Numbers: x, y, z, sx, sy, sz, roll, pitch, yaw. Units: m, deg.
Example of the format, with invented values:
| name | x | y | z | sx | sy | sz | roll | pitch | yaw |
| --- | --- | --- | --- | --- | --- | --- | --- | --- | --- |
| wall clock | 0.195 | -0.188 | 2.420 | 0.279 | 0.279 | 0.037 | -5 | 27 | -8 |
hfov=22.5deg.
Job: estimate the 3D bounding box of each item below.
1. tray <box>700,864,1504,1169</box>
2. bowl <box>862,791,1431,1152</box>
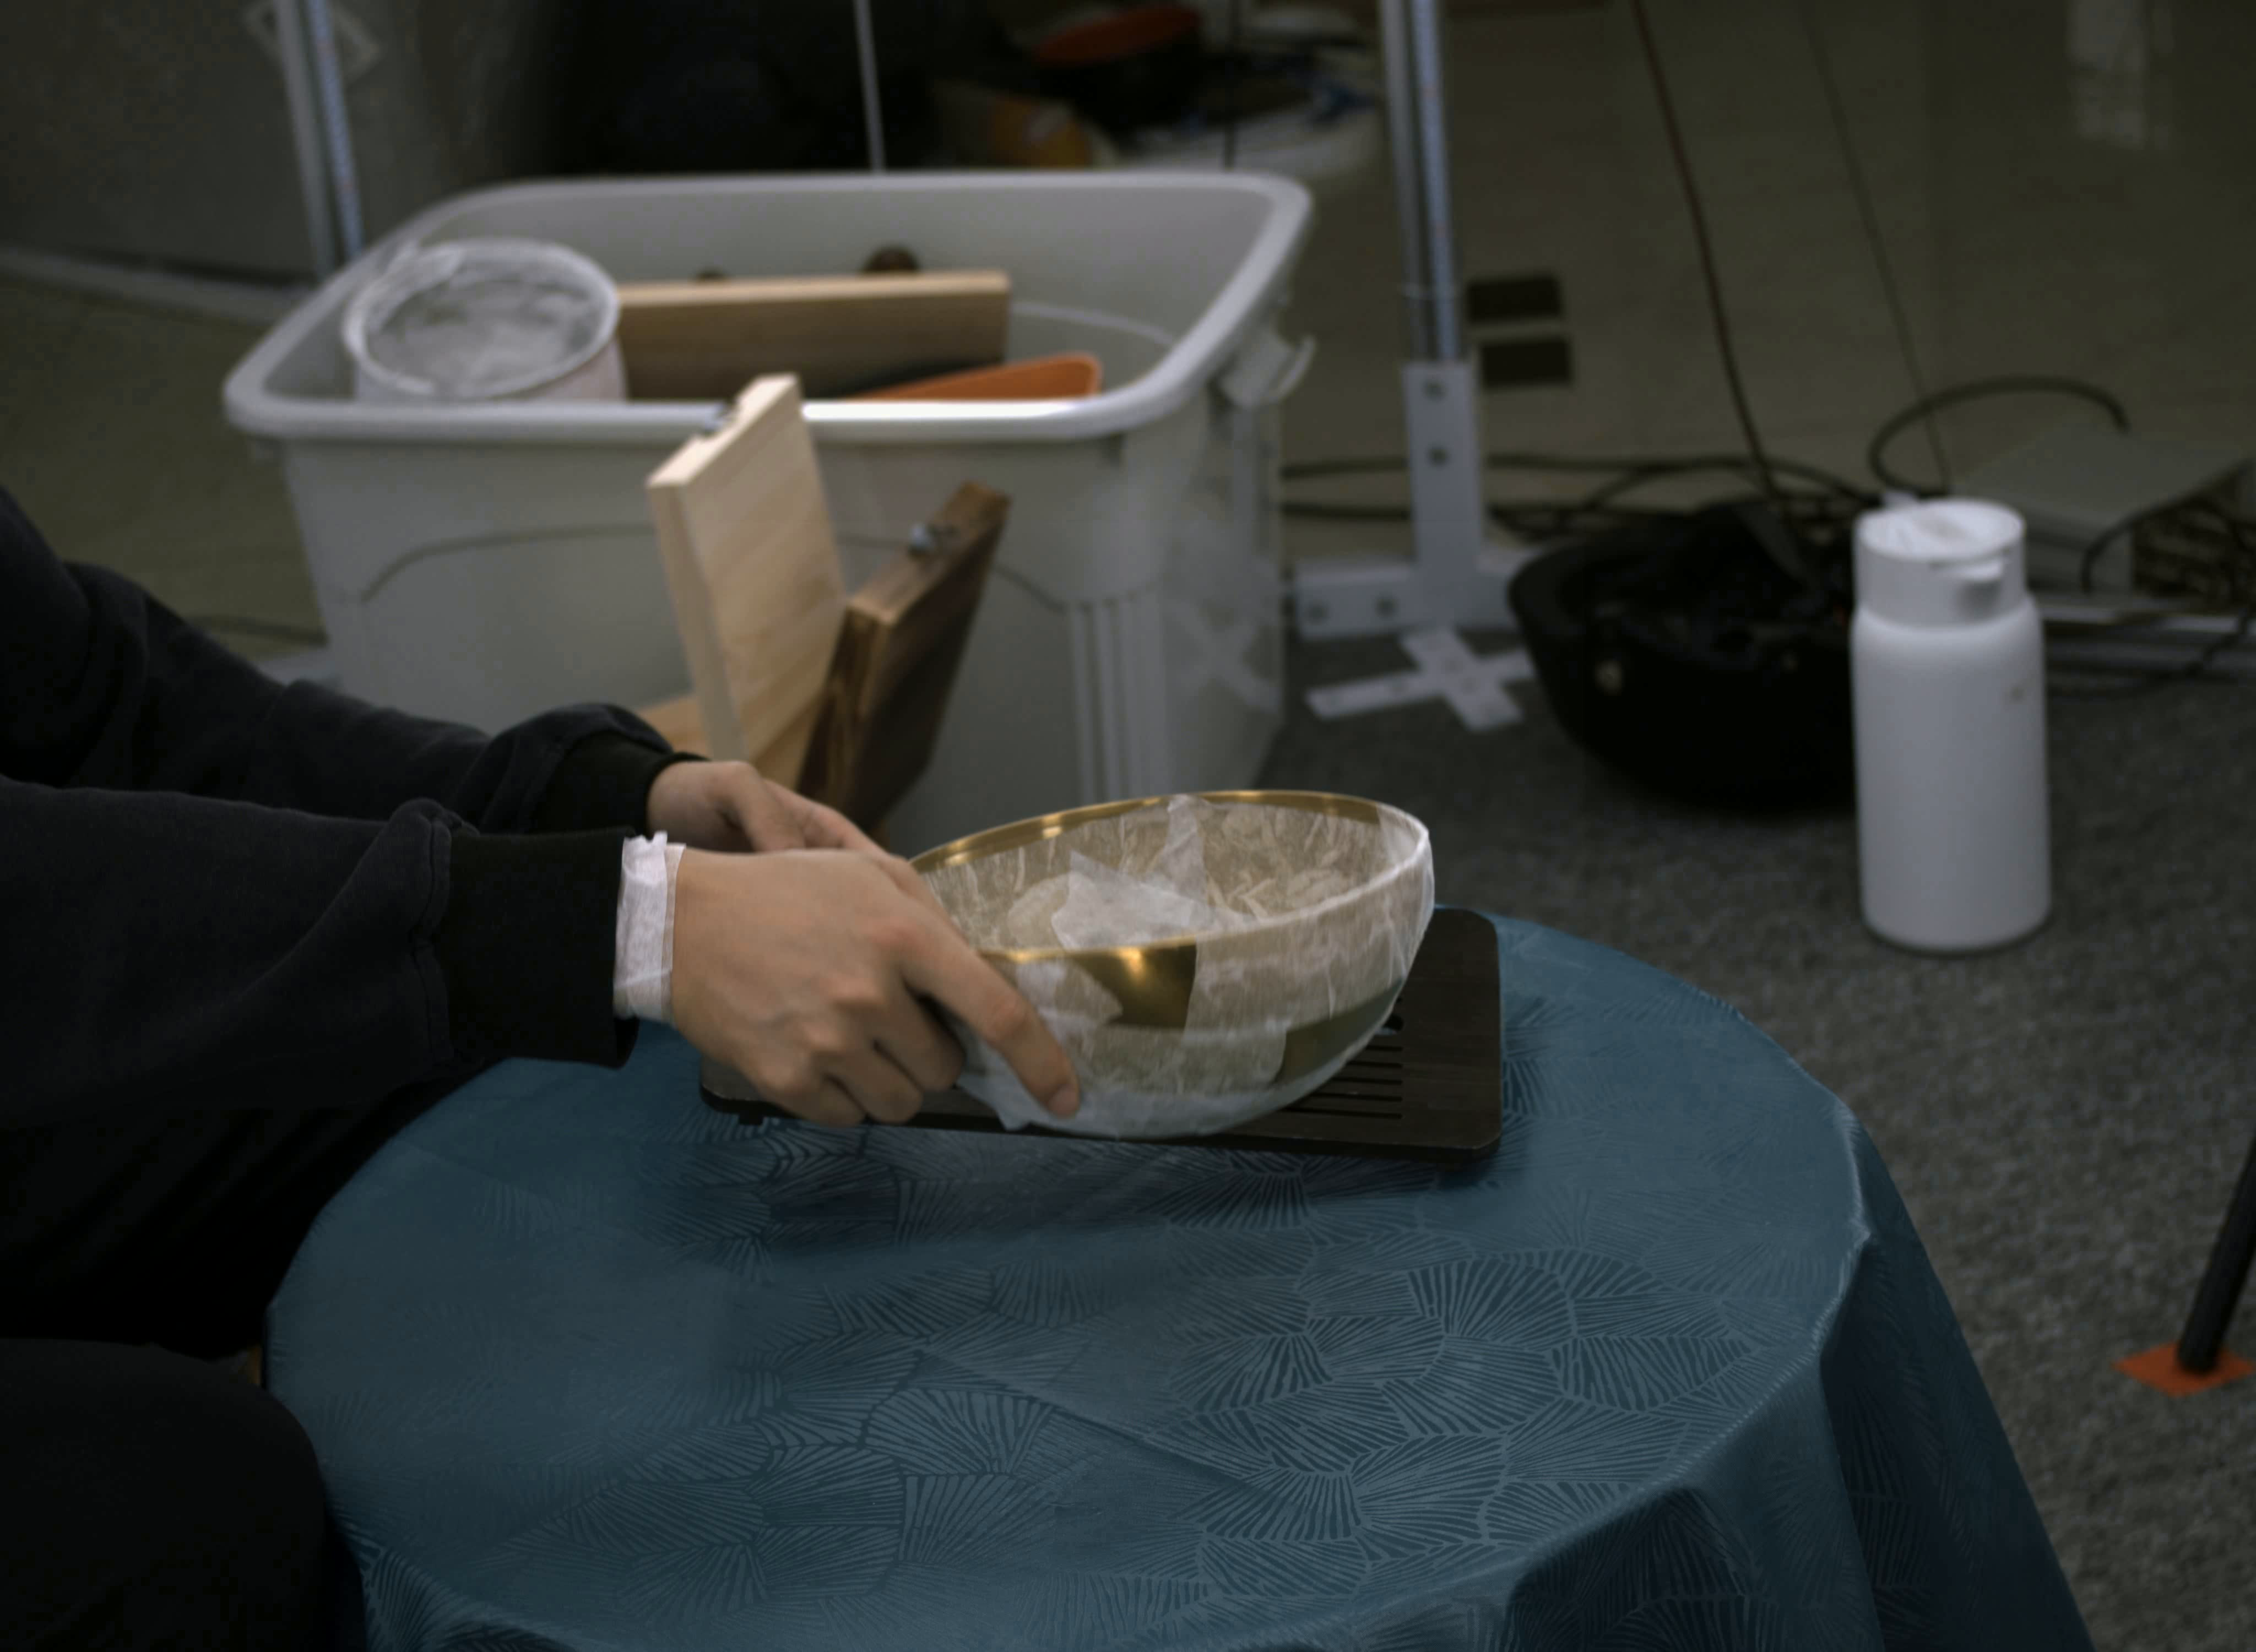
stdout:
| name | x | y | z | sx | sy | sz | roll | pitch | yaw |
| --- | --- | --- | --- | --- | --- | --- | --- | --- | --- |
| tray | -0.008 | 0.074 | 2.202 | 0.305 | 0.019 | 0.167 | 4 | 32 | 0 |
| bowl | 0.009 | 0.060 | 2.014 | 0.214 | 0.096 | 0.212 | -8 | 16 | 2 |
